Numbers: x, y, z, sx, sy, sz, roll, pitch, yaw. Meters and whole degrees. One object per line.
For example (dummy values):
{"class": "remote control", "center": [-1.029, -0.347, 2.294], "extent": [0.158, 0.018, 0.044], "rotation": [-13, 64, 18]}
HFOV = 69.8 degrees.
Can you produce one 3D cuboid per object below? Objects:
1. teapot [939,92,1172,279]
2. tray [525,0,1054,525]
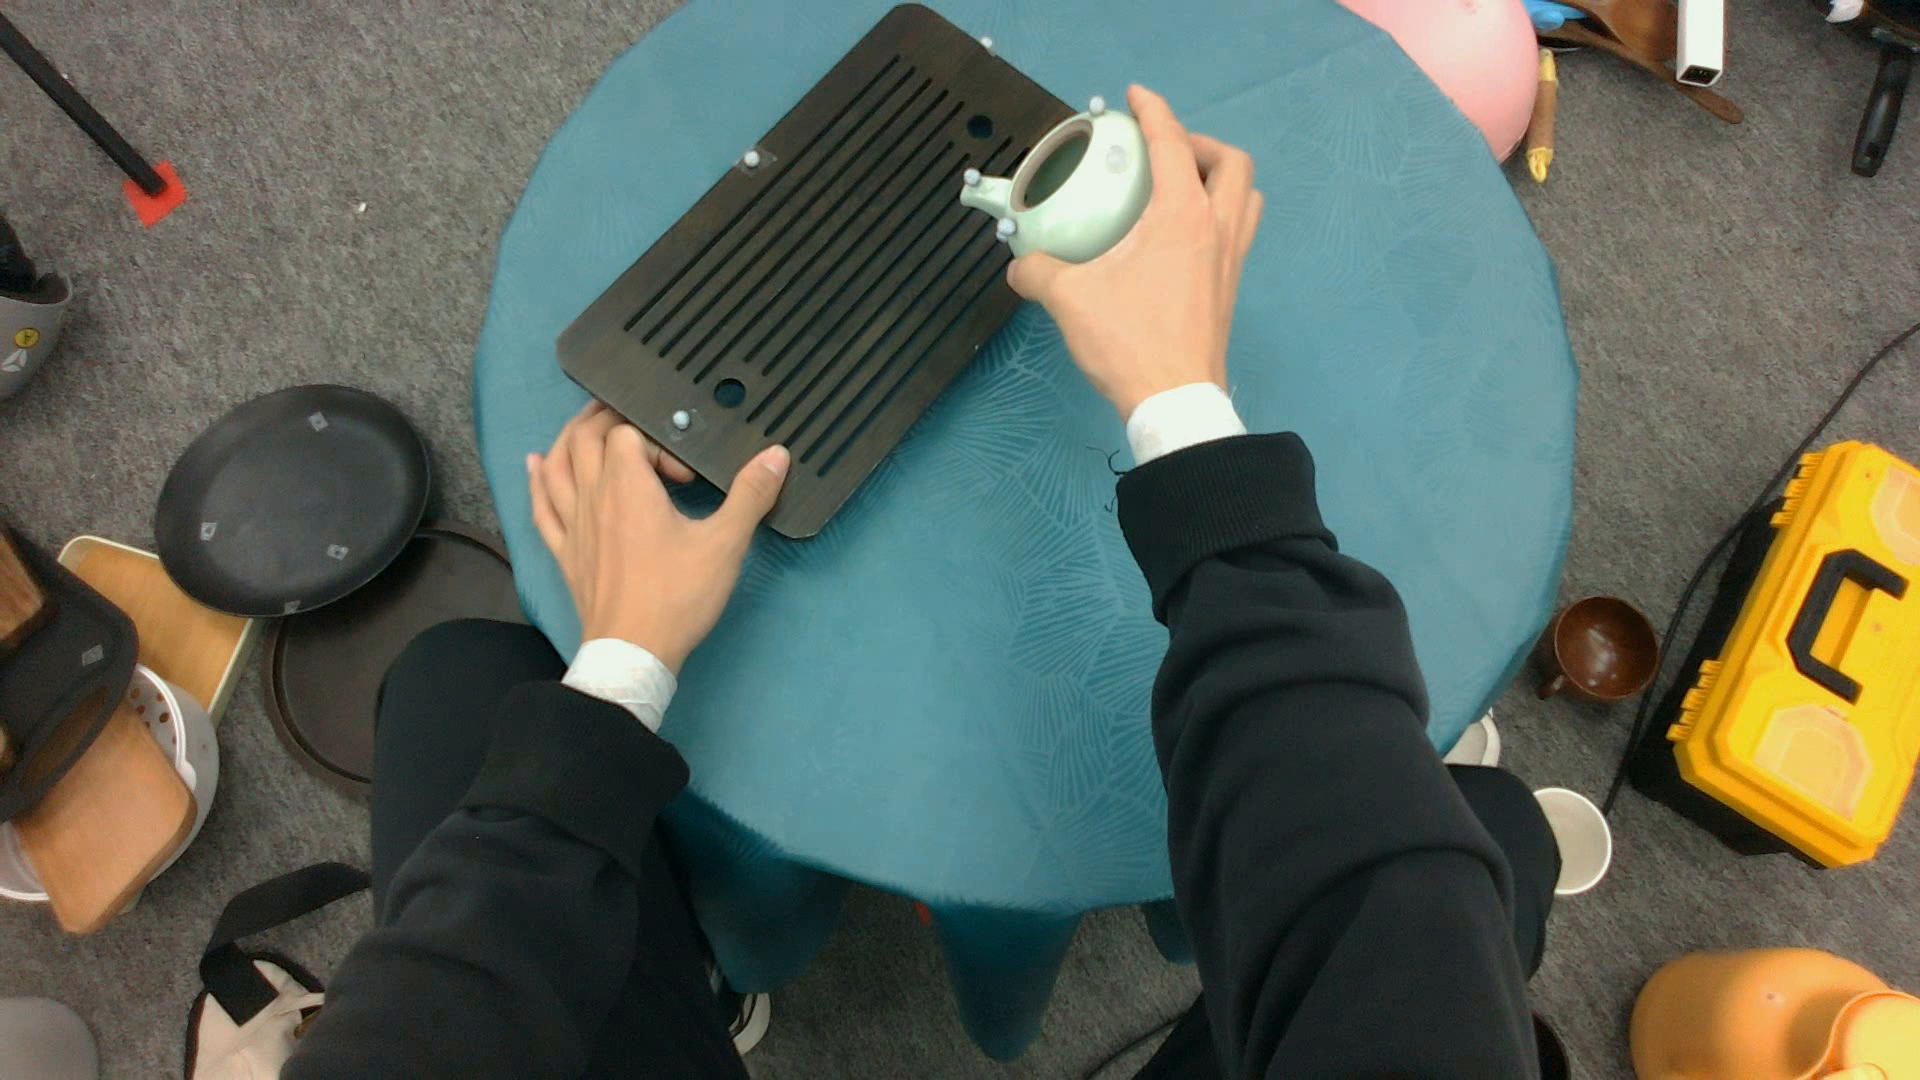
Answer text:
{"class": "teapot", "center": [0.053, -0.169, 0.656], "extent": [0.075, 0.143, 0.088], "rotation": [33, 73, -28]}
{"class": "tray", "center": [-0.071, -0.162, 0.745], "extent": [0.170, 0.018, 0.307], "rotation": [36, 70, 7]}
